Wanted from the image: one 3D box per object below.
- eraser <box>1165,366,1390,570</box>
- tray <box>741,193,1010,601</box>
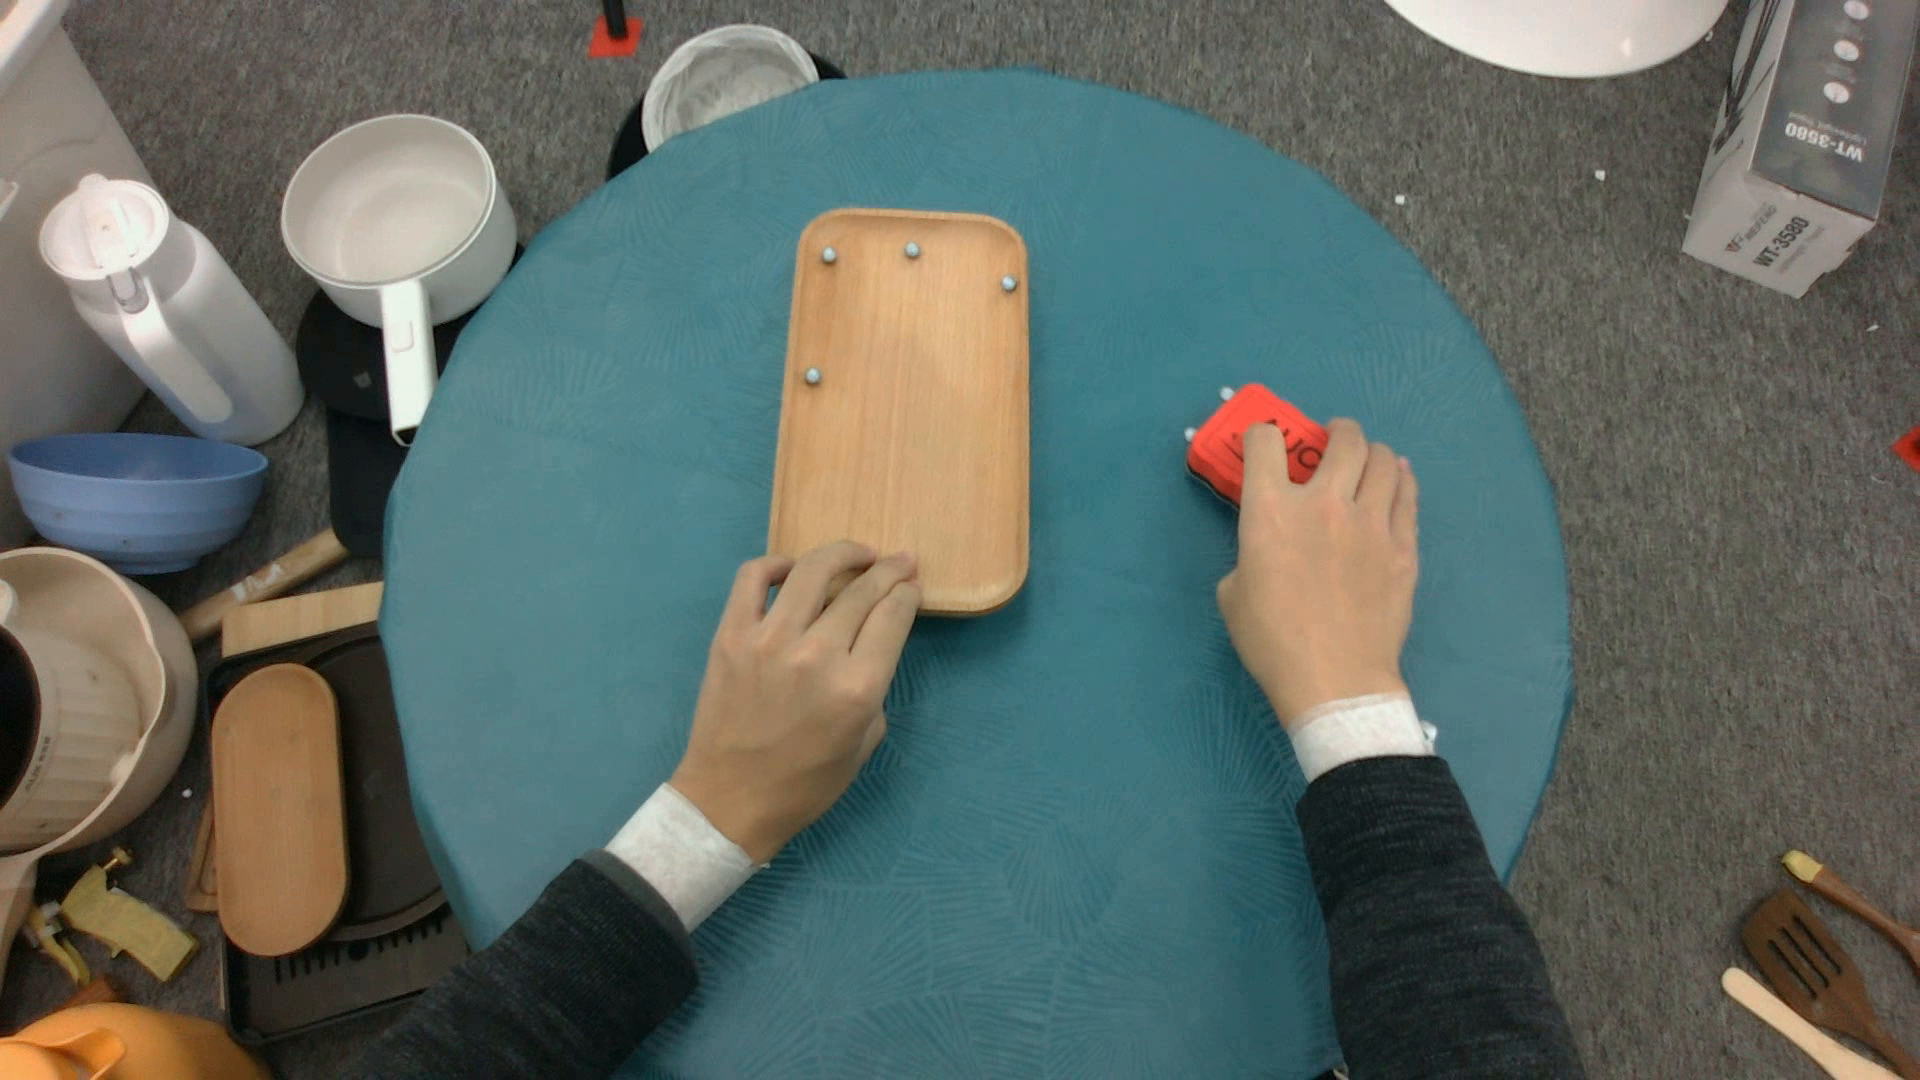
[{"bbox_3d":[0.161,-0.038,0.706,0.108,0.023,0.059,41,73,17],"label":"eraser"},{"bbox_3d":[-0.039,-0.081,0.711,0.130,0.023,0.251,2,60,-1],"label":"tray"}]
